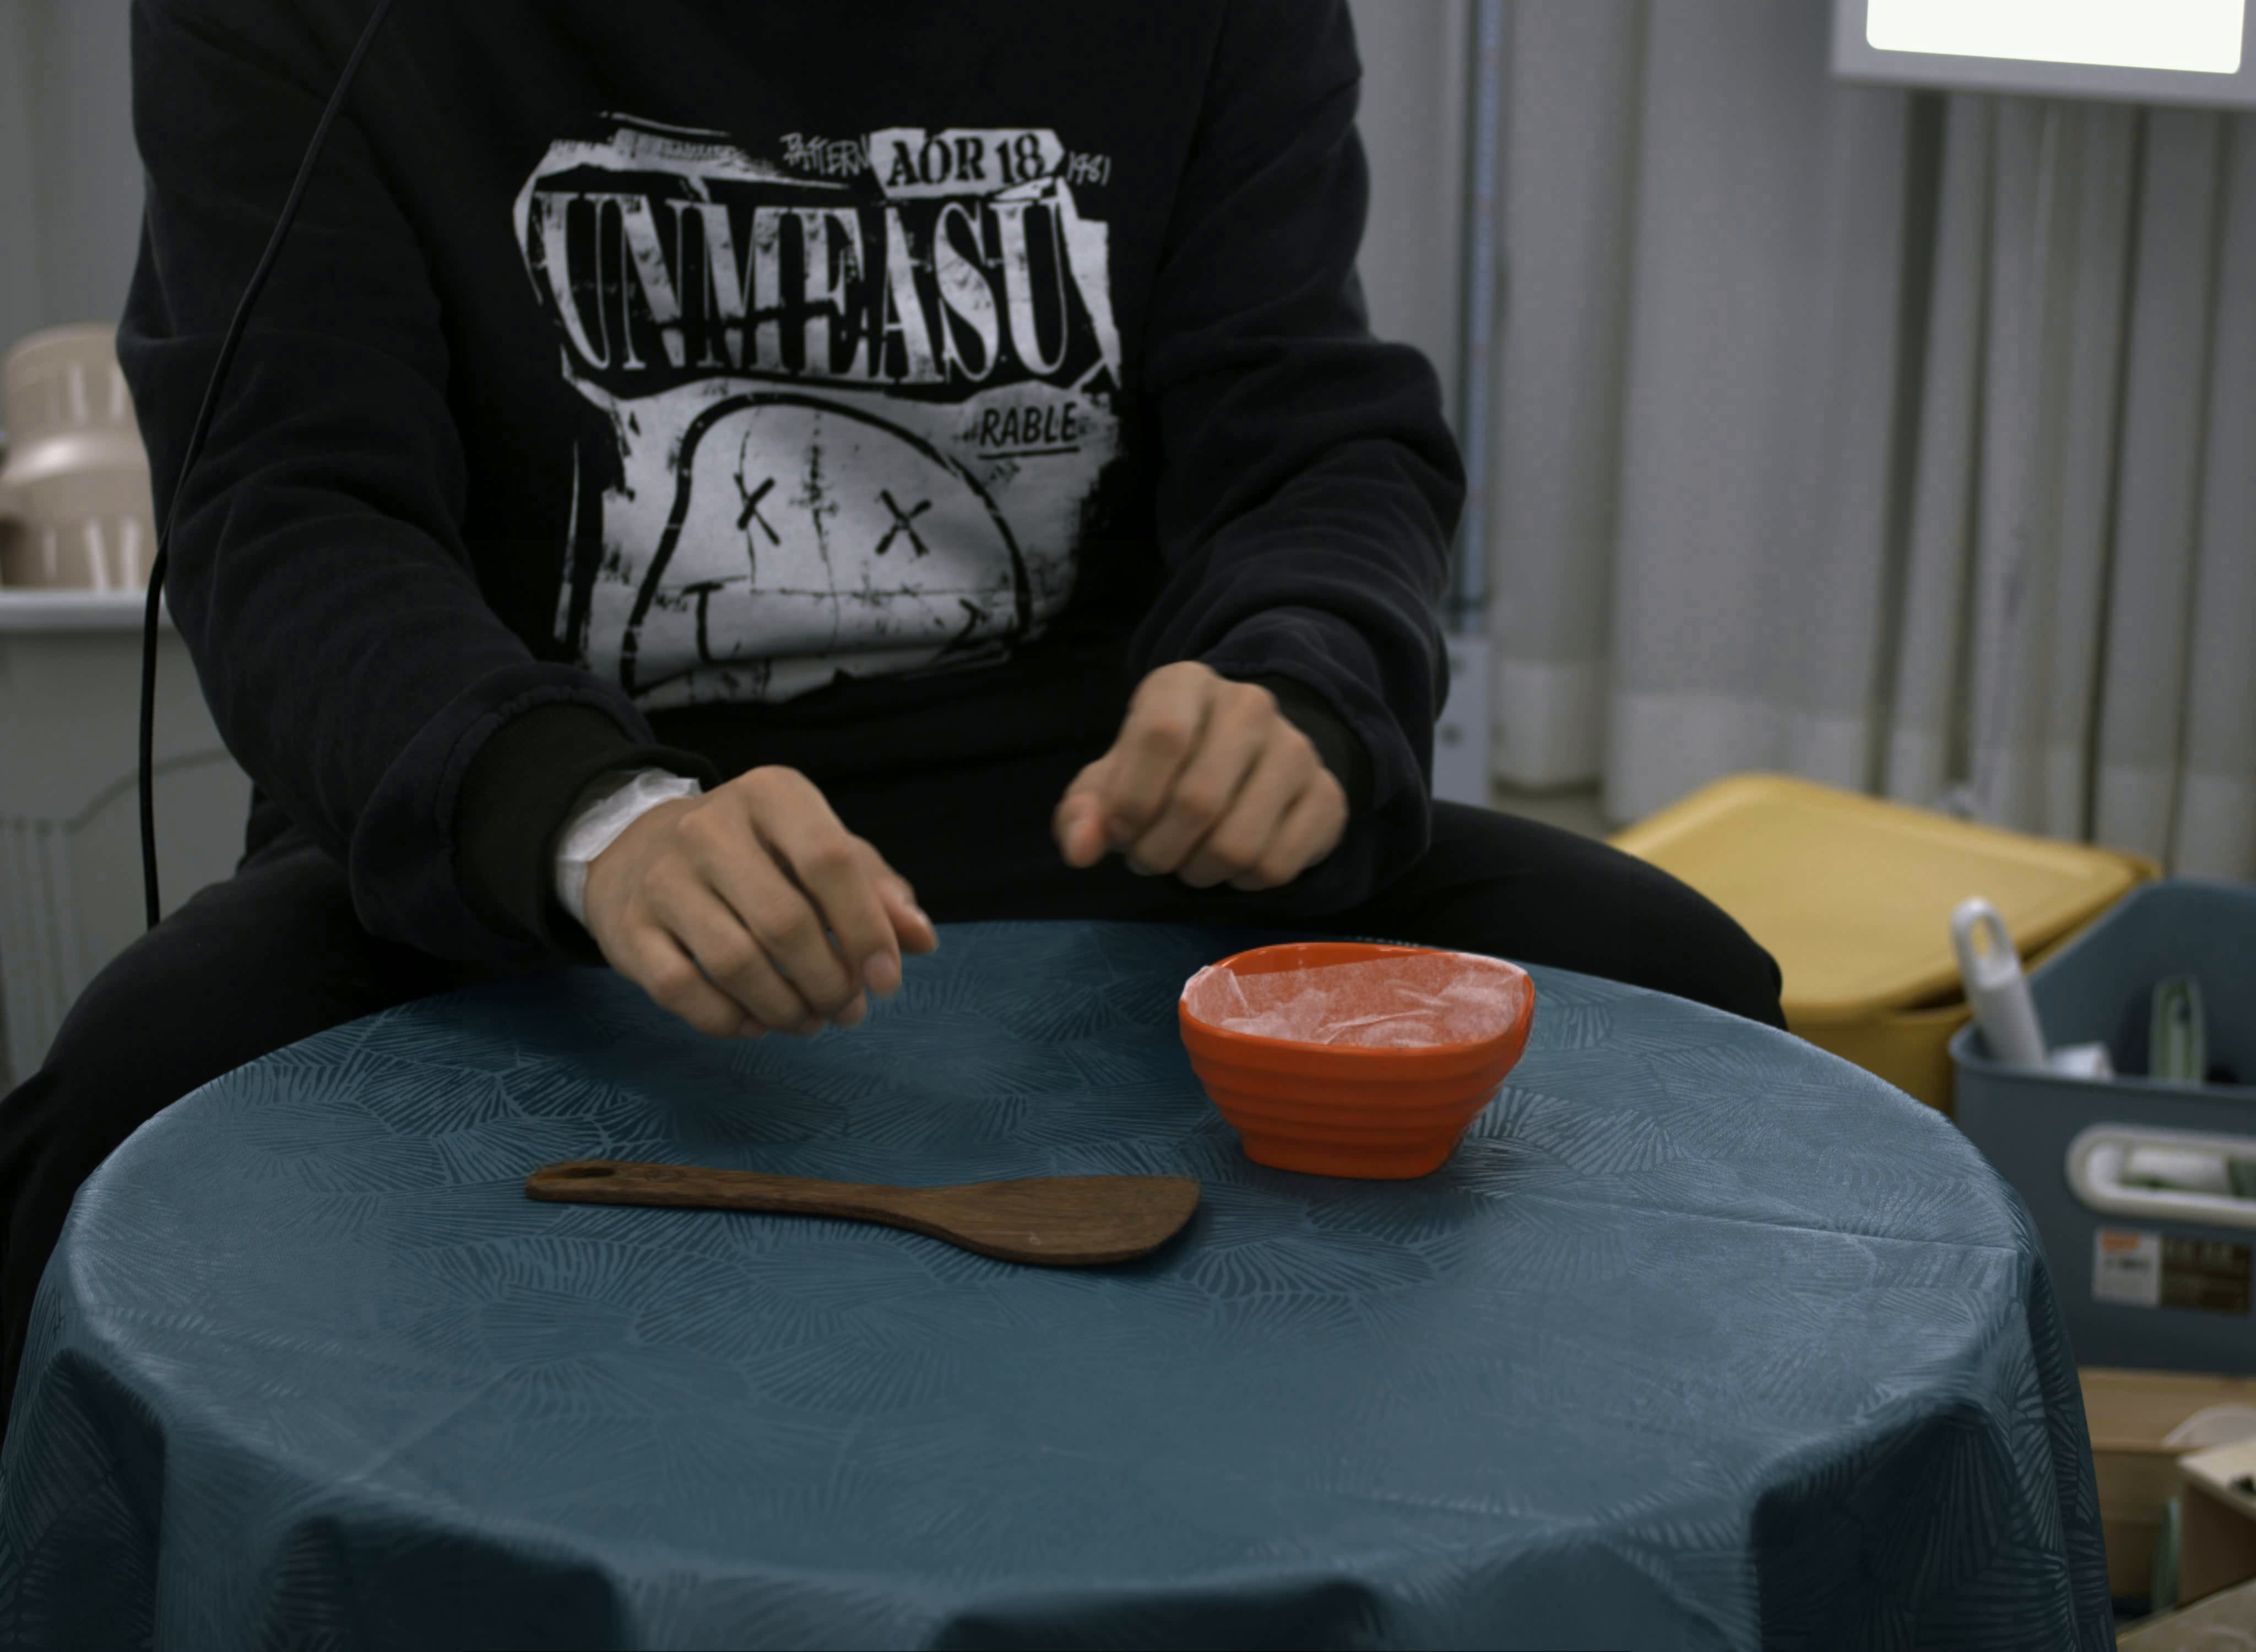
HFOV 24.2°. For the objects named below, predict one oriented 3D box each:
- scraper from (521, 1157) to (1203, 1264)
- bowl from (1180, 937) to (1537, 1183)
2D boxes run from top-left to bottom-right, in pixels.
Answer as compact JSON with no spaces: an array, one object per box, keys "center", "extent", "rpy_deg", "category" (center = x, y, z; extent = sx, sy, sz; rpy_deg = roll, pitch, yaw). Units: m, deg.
[{"center":[-0.083,0.114,1.604],"extent":[0.210,0.011,0.076],"rpy_deg":[4,16,12],"category":"scraper"},{"center":[0.072,0.076,1.665],"extent":[0.118,0.052,0.118],"rpy_deg":[1,18,0],"category":"bowl"}]
